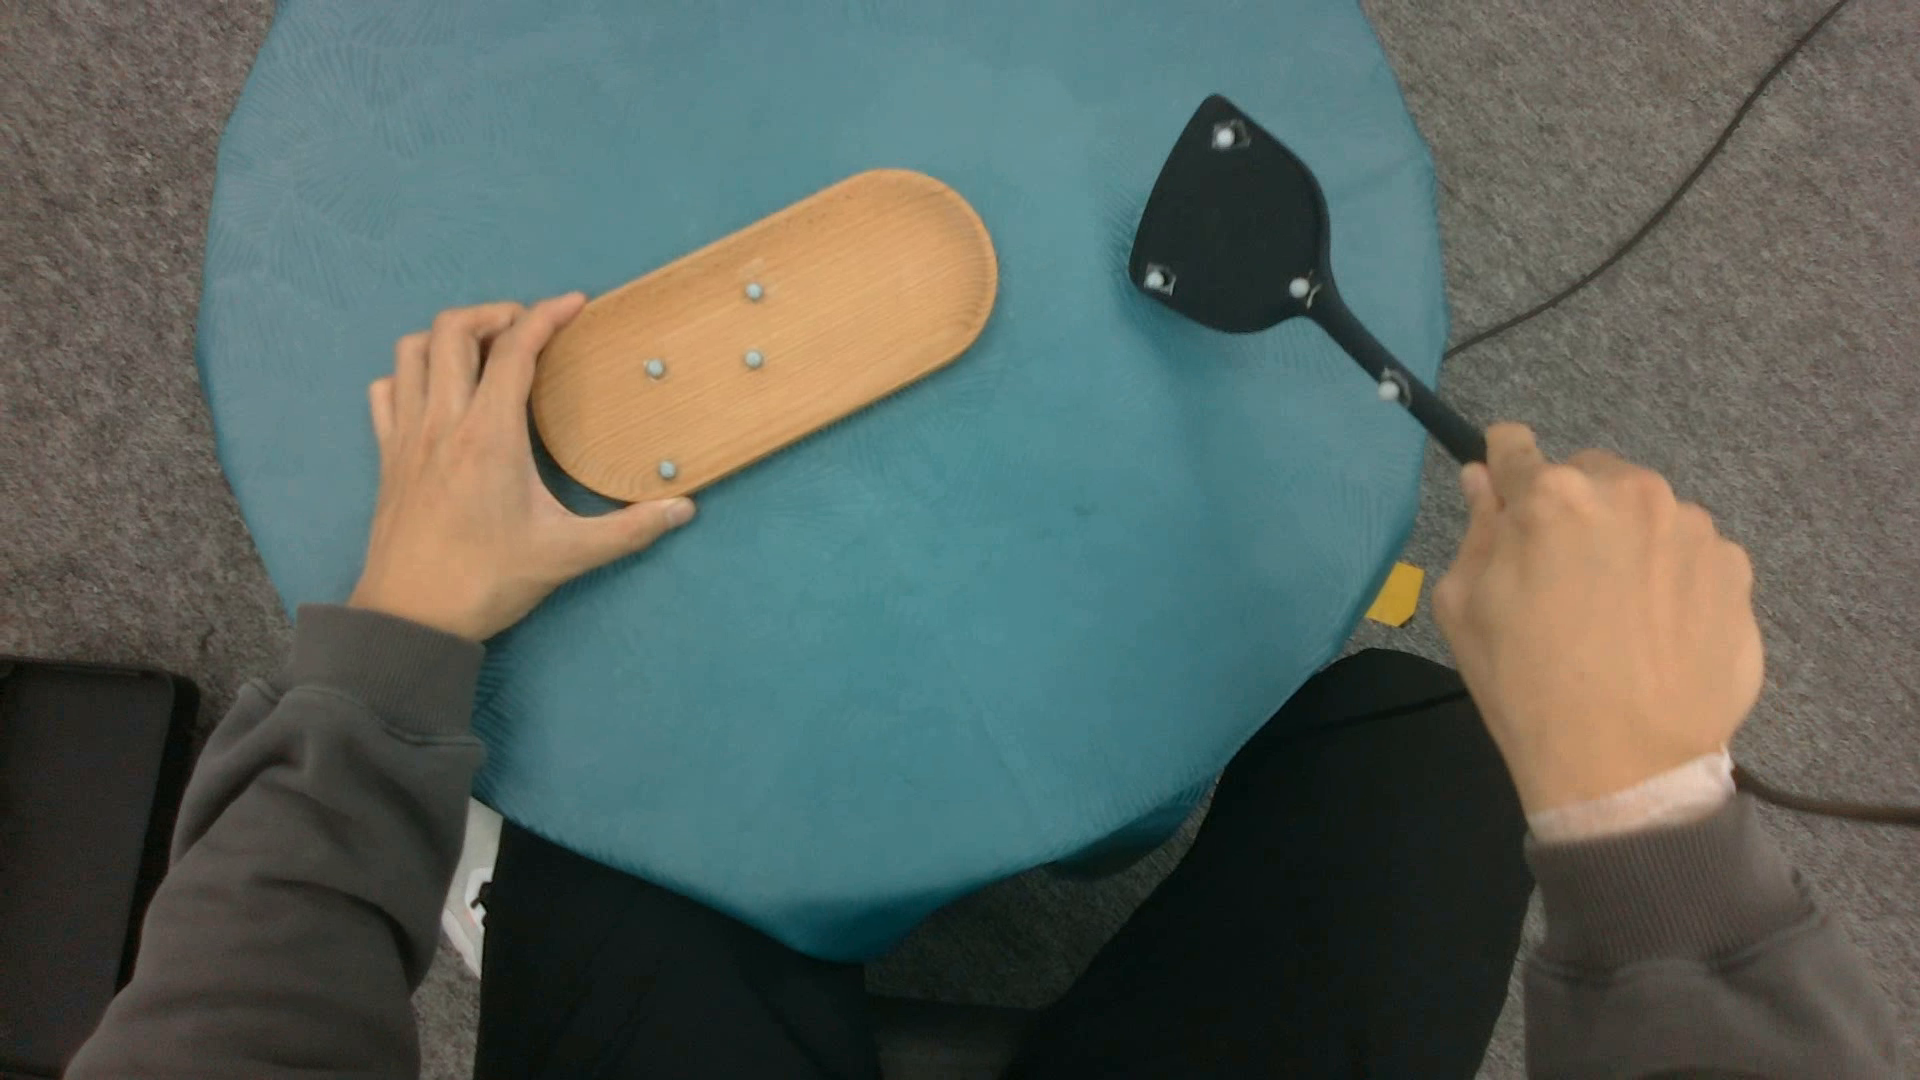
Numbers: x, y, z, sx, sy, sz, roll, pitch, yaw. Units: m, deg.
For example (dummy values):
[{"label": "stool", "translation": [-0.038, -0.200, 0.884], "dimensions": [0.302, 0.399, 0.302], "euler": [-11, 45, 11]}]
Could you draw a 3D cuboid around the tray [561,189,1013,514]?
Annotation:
[{"label": "tray", "translation": [-0.082, -0.092, 0.671], "dimensions": [0.231, 0.020, 0.102], "euler": [-27, 84, -7]}]

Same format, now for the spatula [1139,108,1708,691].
[{"label": "spatula", "translation": [0.175, -0.059, 0.559], "dimensions": [0.040, 0.099, 0.327], "euler": [-2, 42, -28]}]
